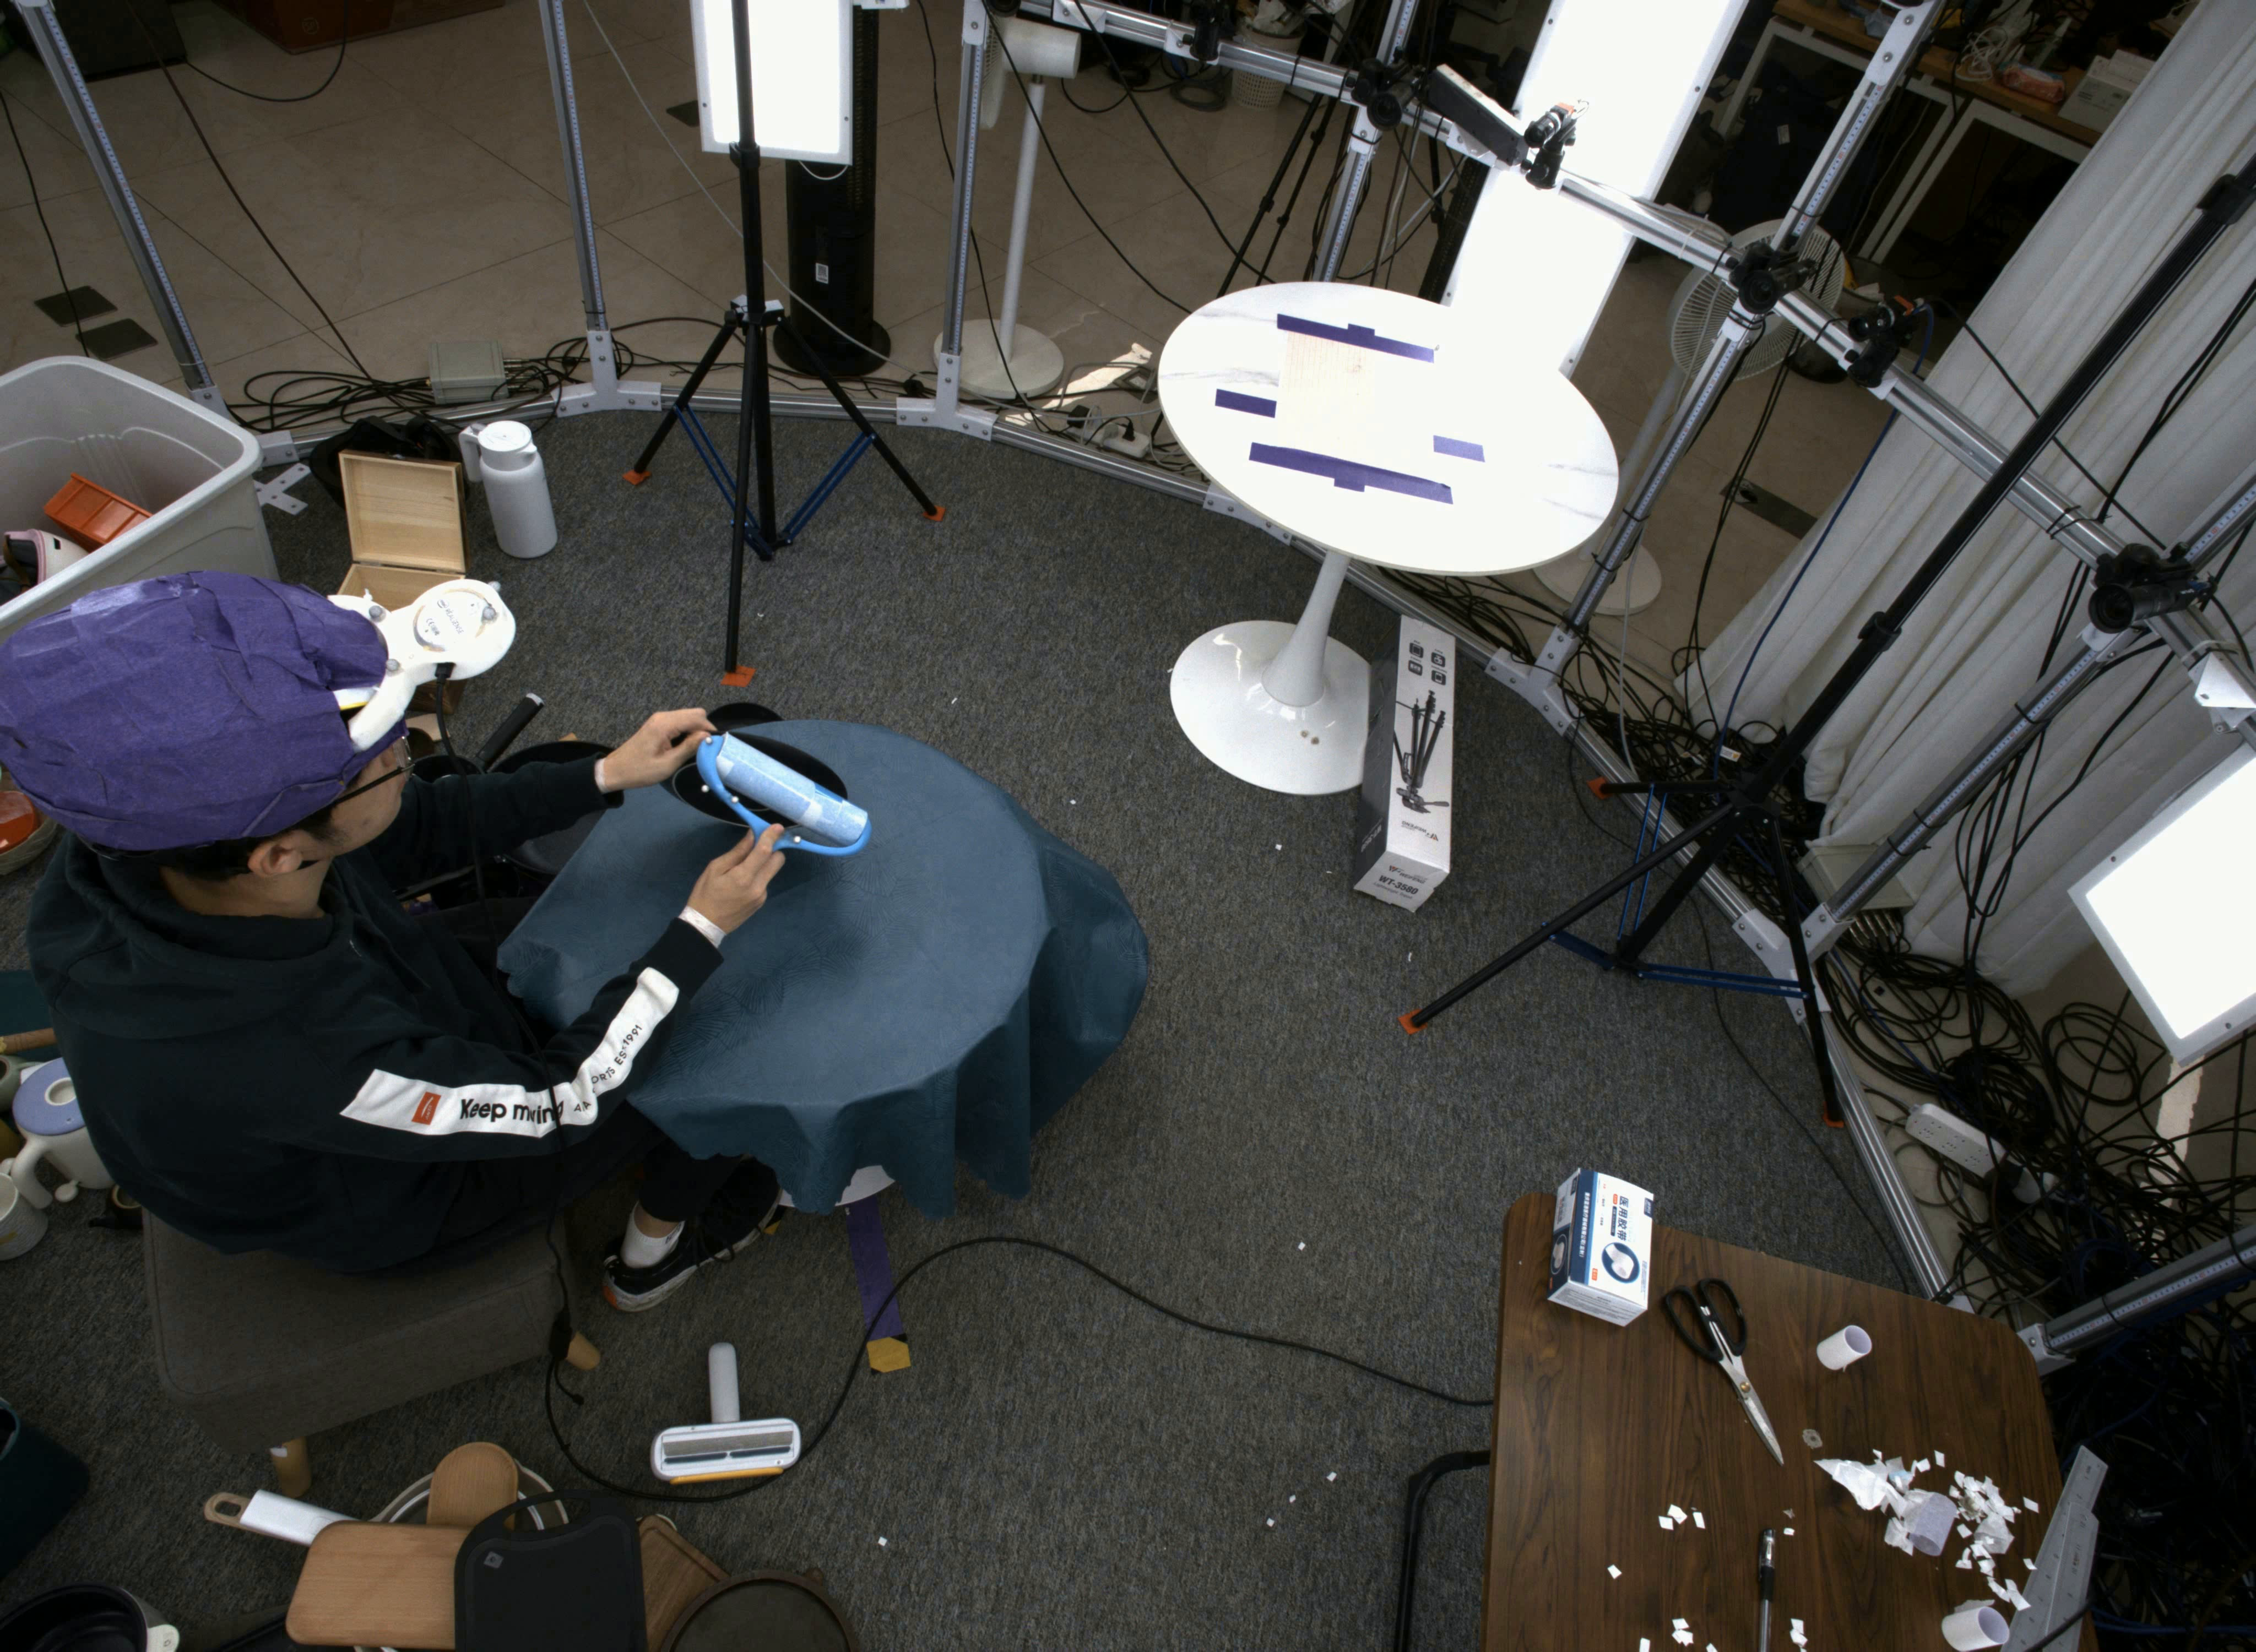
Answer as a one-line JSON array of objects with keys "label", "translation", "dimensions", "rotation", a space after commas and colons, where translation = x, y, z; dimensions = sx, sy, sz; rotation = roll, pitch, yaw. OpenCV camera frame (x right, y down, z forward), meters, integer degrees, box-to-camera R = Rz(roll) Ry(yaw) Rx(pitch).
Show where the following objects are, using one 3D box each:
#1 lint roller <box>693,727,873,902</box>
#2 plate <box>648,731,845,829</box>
[{"label": "lint roller", "translation": [-0.425, 0.008, 1.512], "dimensions": [0.235, 0.066, 0.181], "rotation": [27, 83, -30]}, {"label": "plate", "translation": [-0.474, -0.048, 1.601], "dimensions": [0.244, 0.247, 0.023], "rotation": [7, 63, -8]}]
